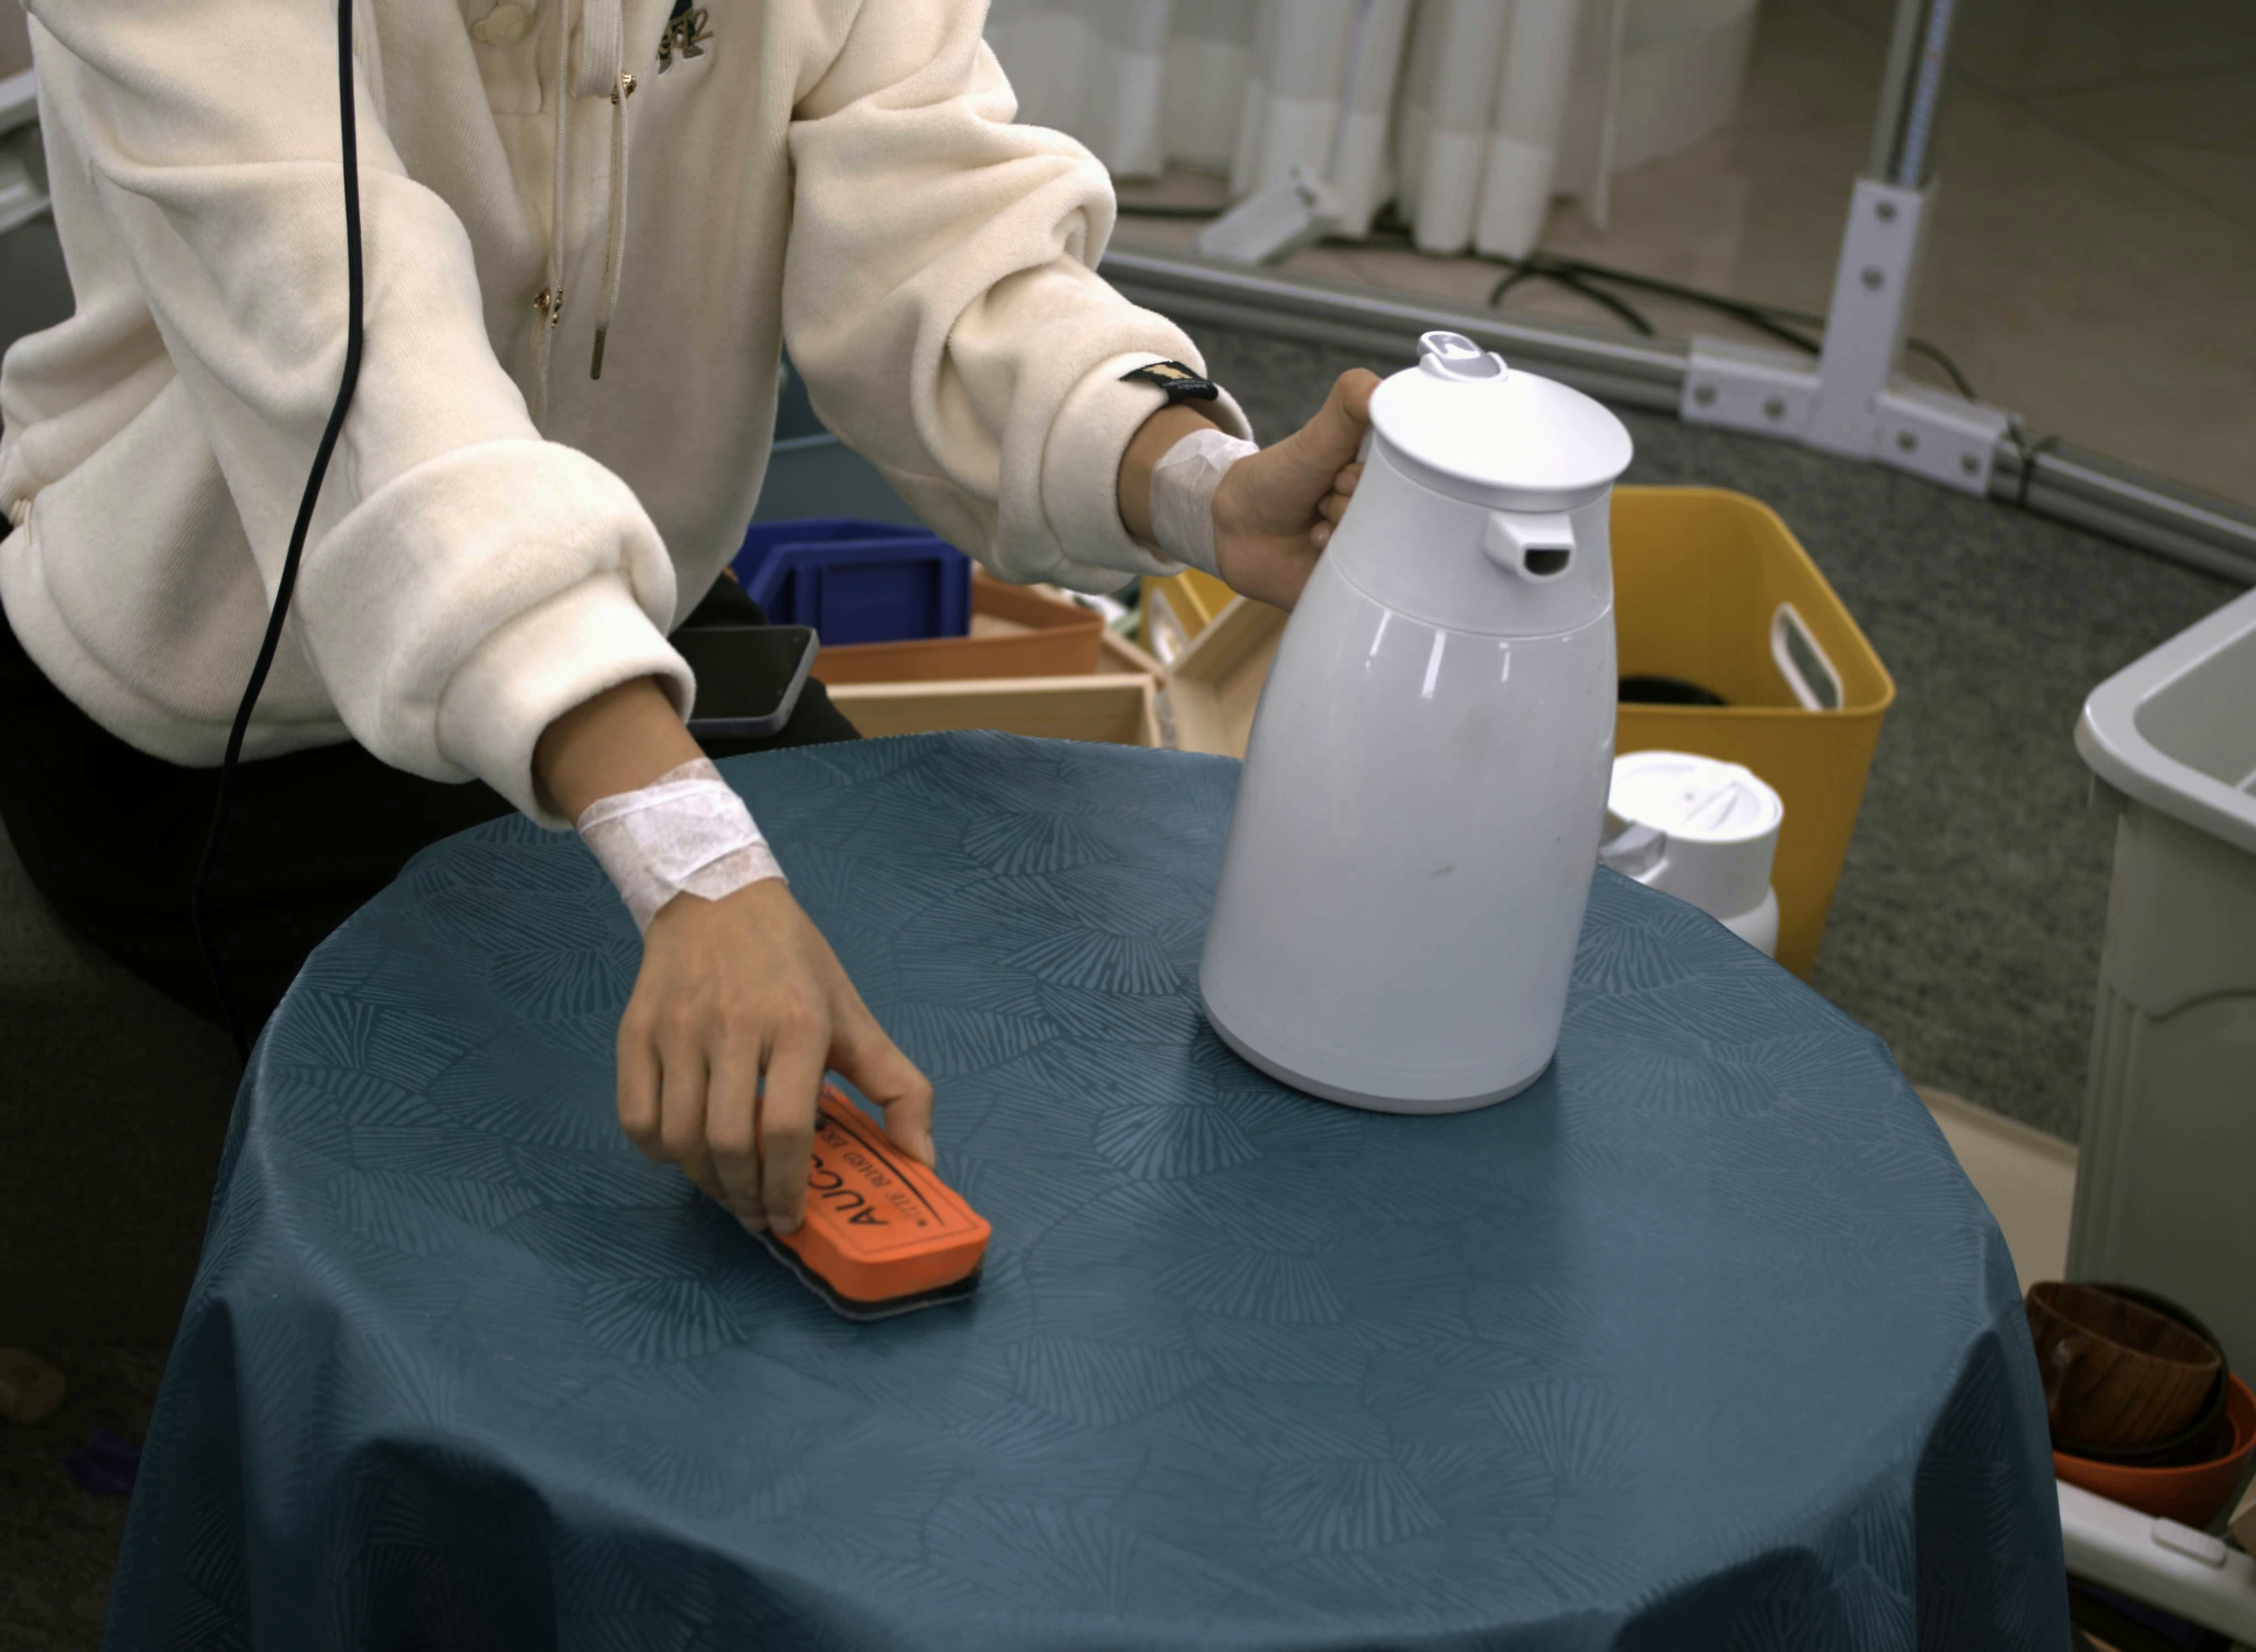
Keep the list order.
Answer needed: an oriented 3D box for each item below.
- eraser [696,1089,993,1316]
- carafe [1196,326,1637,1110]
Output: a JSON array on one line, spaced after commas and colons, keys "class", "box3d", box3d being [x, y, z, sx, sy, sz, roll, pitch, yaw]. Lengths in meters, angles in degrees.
[{"class": "eraser", "box3d": [-0.094, 0.123, 1.753, 0.058, 0.023, 0.109, -7, 29, -34]}, {"class": "carafe", "box3d": [0.103, -0.049, 1.877, 0.131, 0.248, 0.169, 0, 30, -18]}]
